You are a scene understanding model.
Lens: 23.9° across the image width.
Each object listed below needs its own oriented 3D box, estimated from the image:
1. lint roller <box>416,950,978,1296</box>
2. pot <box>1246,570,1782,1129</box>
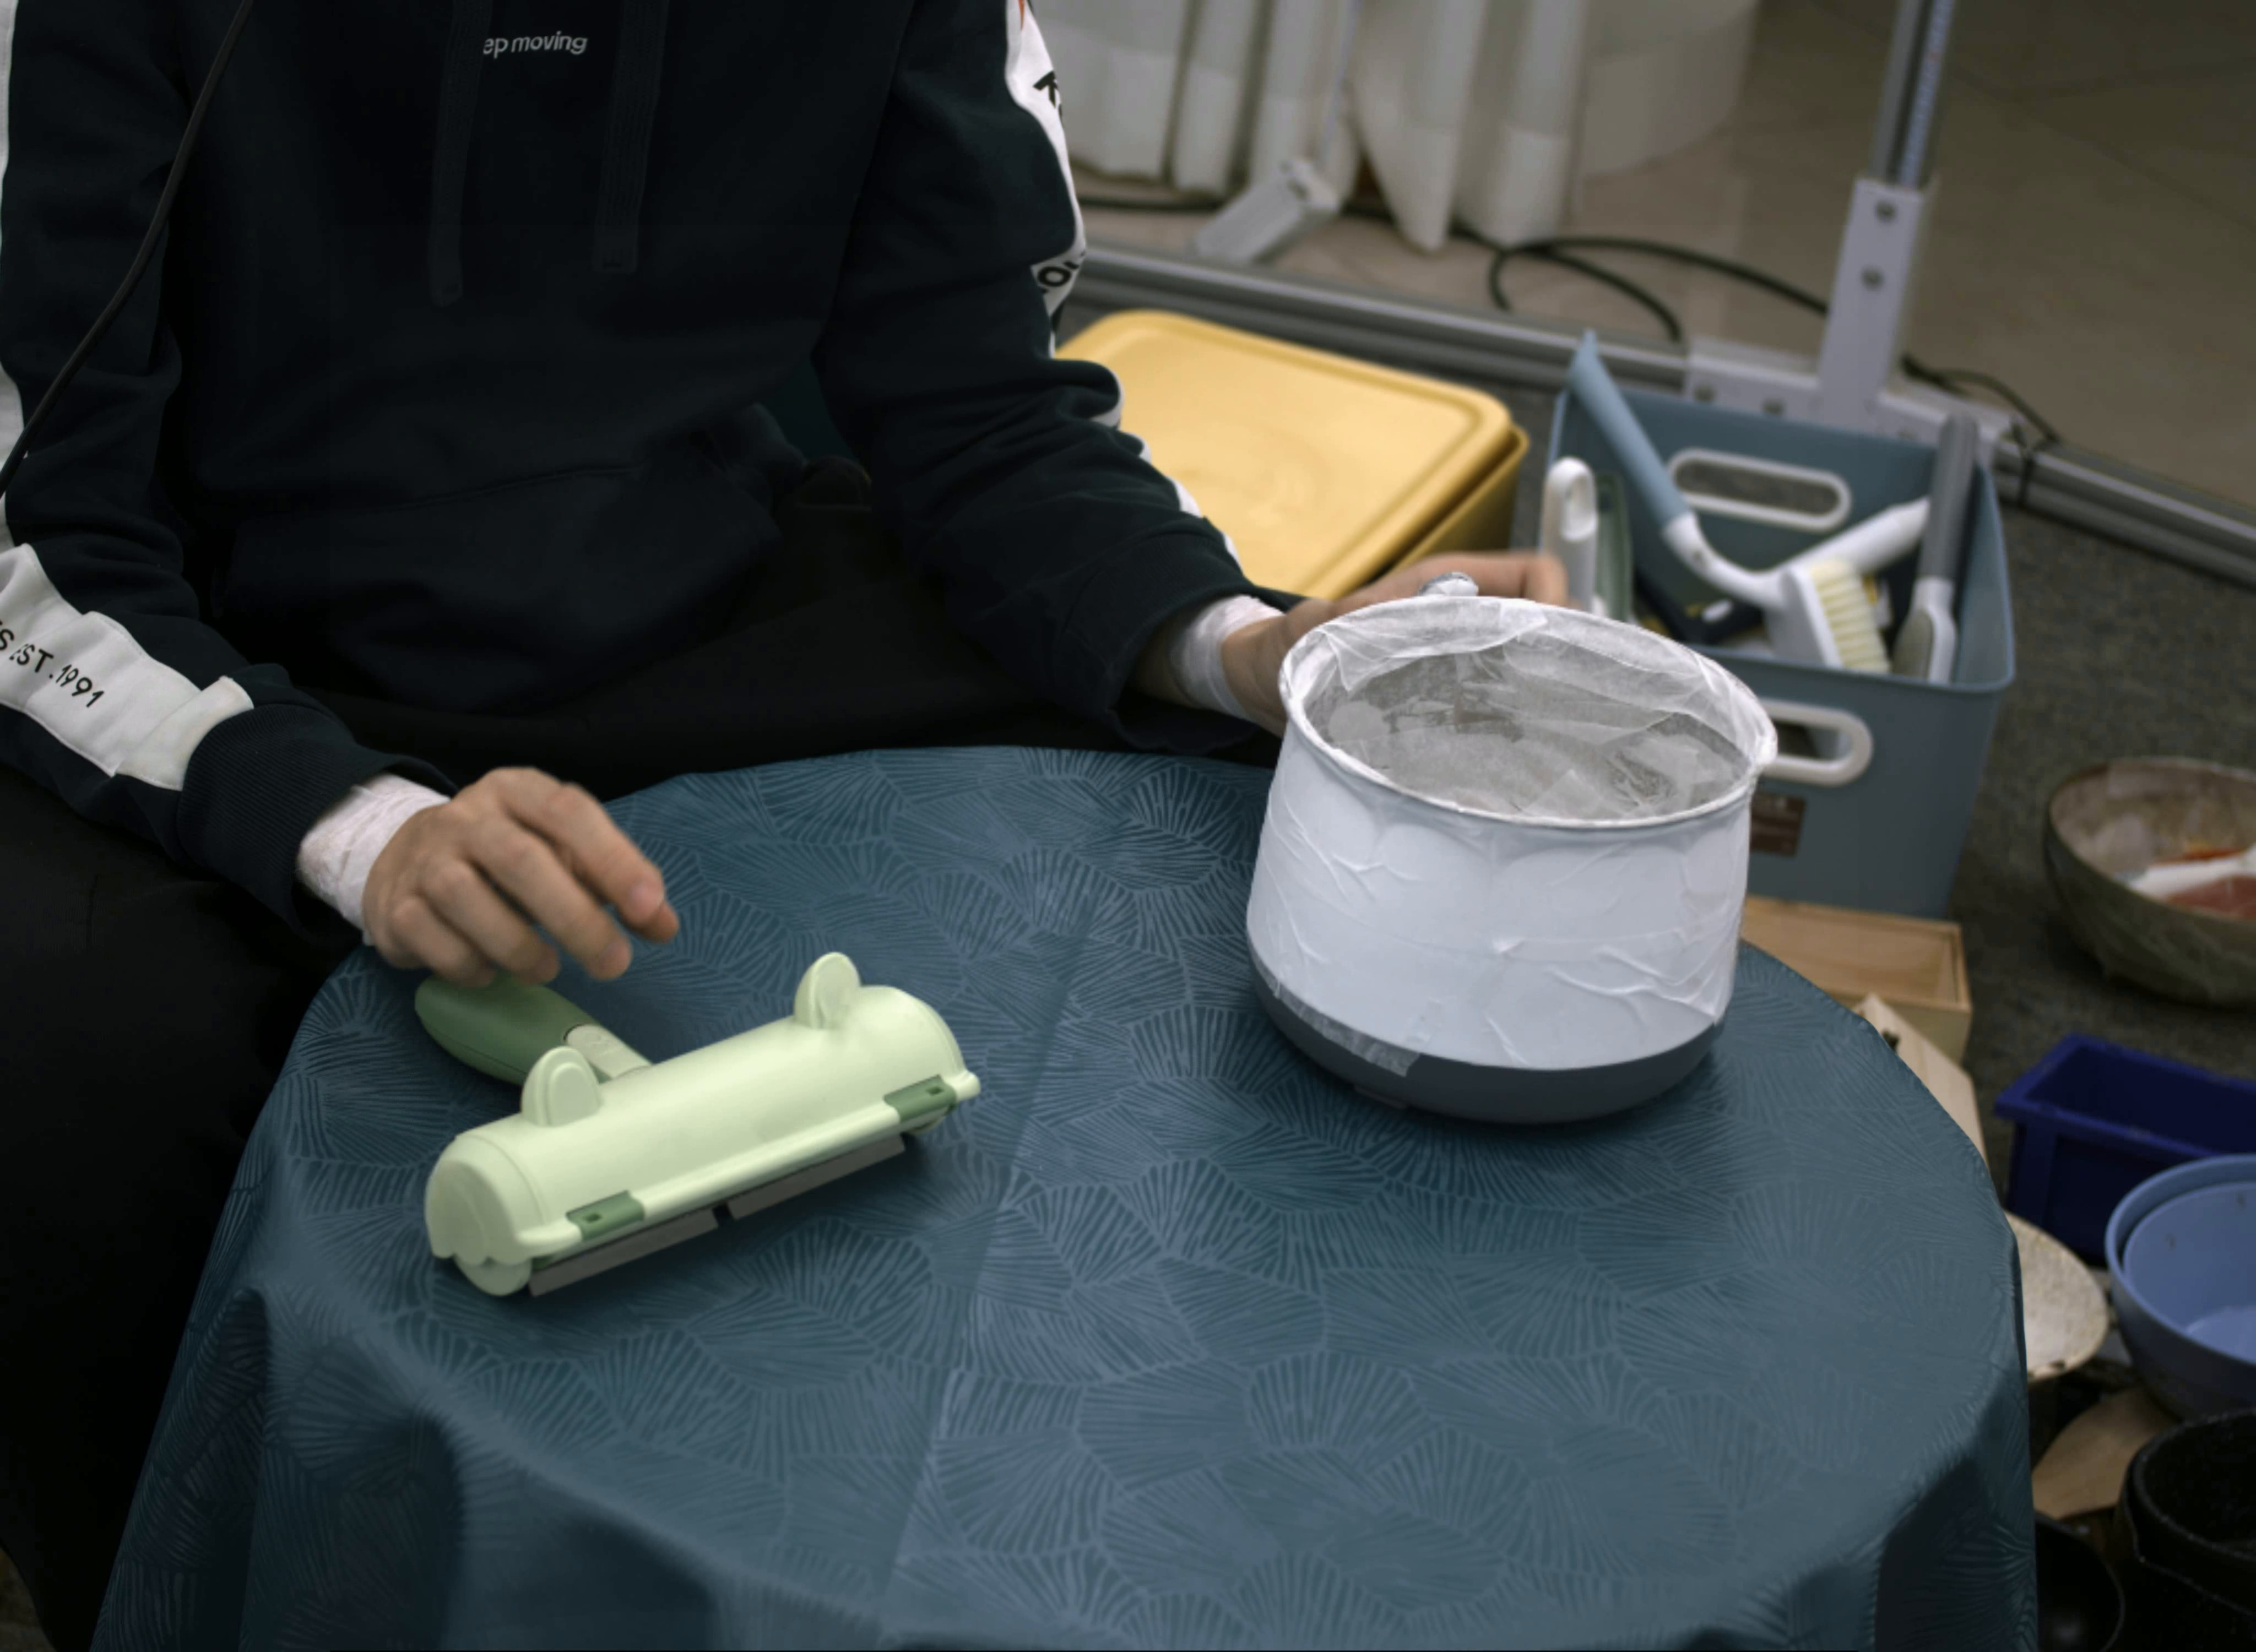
[{"bbox_3d":[-0.177,0.070,1.781,0.197,0.082,0.185,-19,41,-40],"label":"lint roller"},{"bbox_3d":[0.128,0.001,1.916,0.178,0.136,0.235,0,28,-14],"label":"pot"}]
